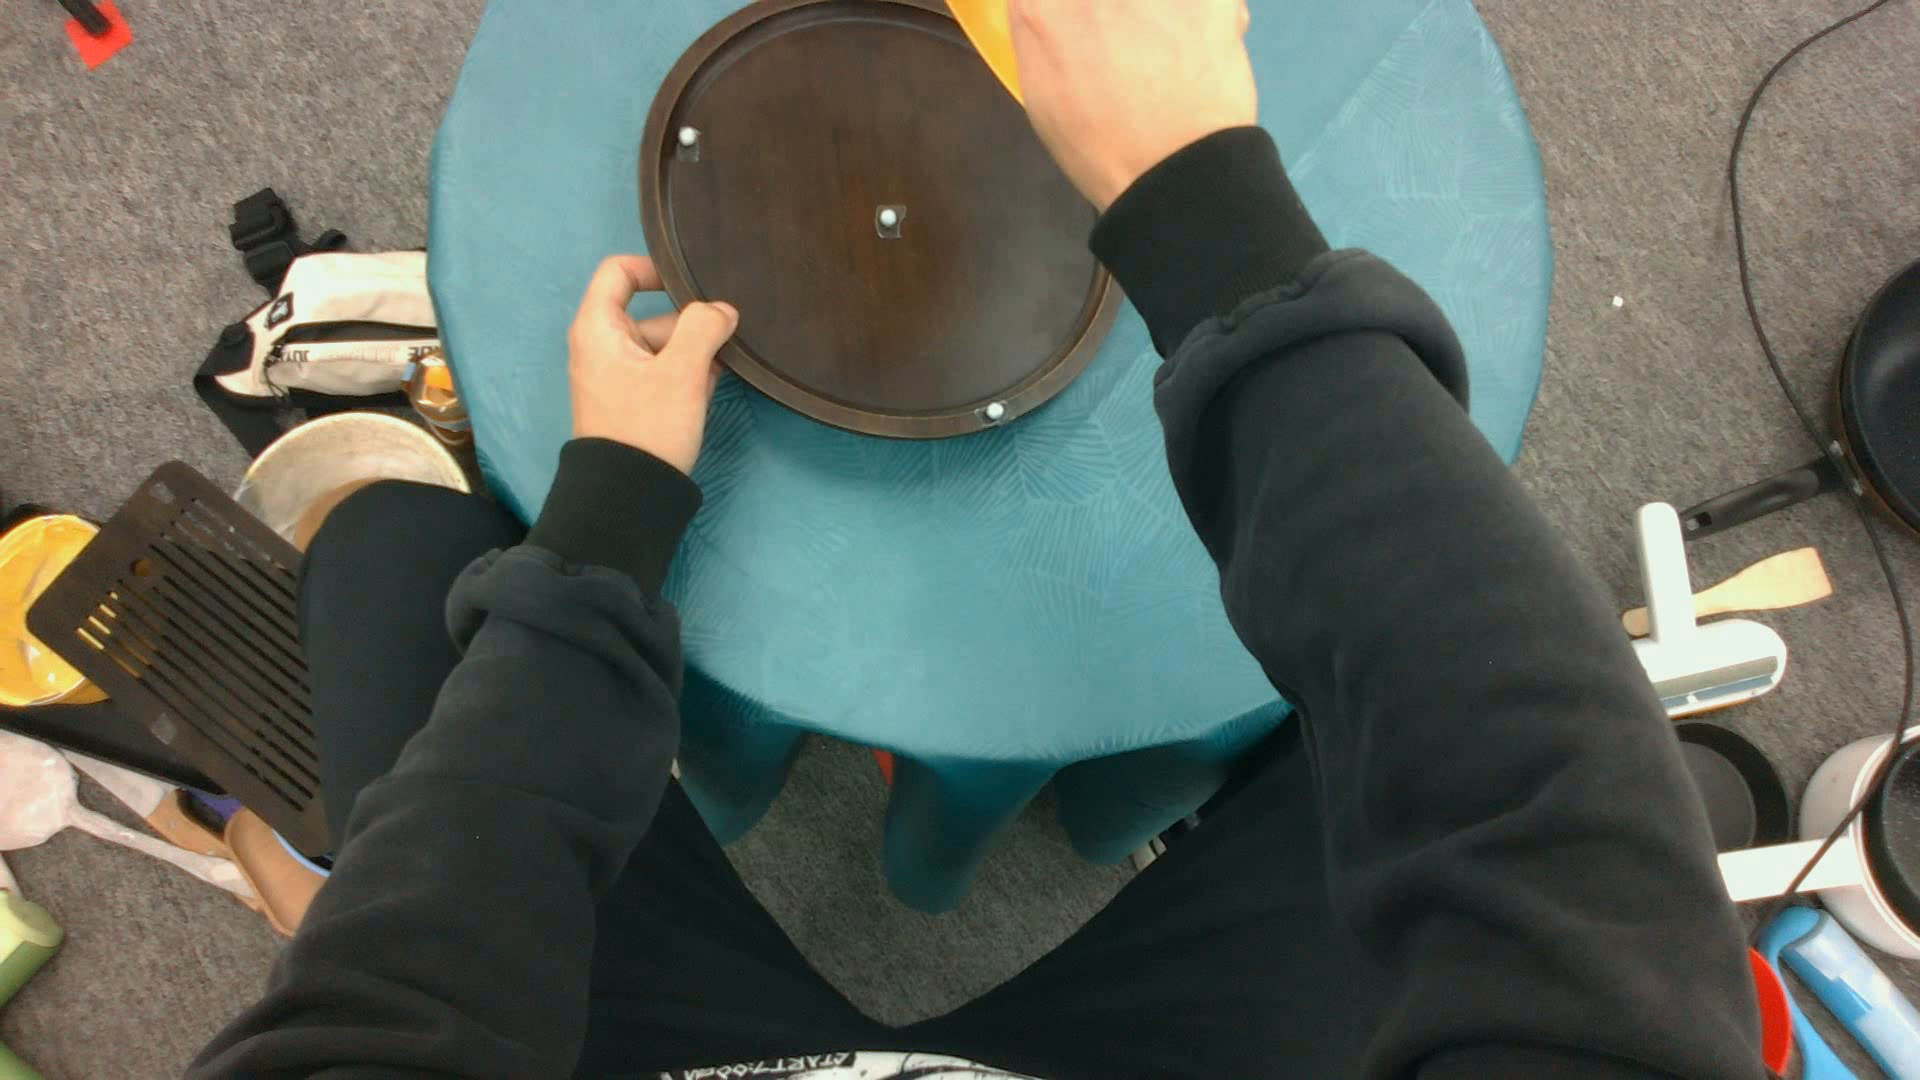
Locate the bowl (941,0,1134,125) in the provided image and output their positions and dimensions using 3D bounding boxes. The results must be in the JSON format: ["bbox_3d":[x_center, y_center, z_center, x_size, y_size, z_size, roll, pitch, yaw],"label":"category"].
[{"bbox_3d":[0.031,-0.254,0.586,0.060,0.145,0.145,-38,82,-3],"label":"bowl"}]

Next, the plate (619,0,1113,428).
[{"bbox_3d":[-0.043,-0.173,0.699,0.255,0.029,0.255,5,72,-16],"label":"plate"}]
